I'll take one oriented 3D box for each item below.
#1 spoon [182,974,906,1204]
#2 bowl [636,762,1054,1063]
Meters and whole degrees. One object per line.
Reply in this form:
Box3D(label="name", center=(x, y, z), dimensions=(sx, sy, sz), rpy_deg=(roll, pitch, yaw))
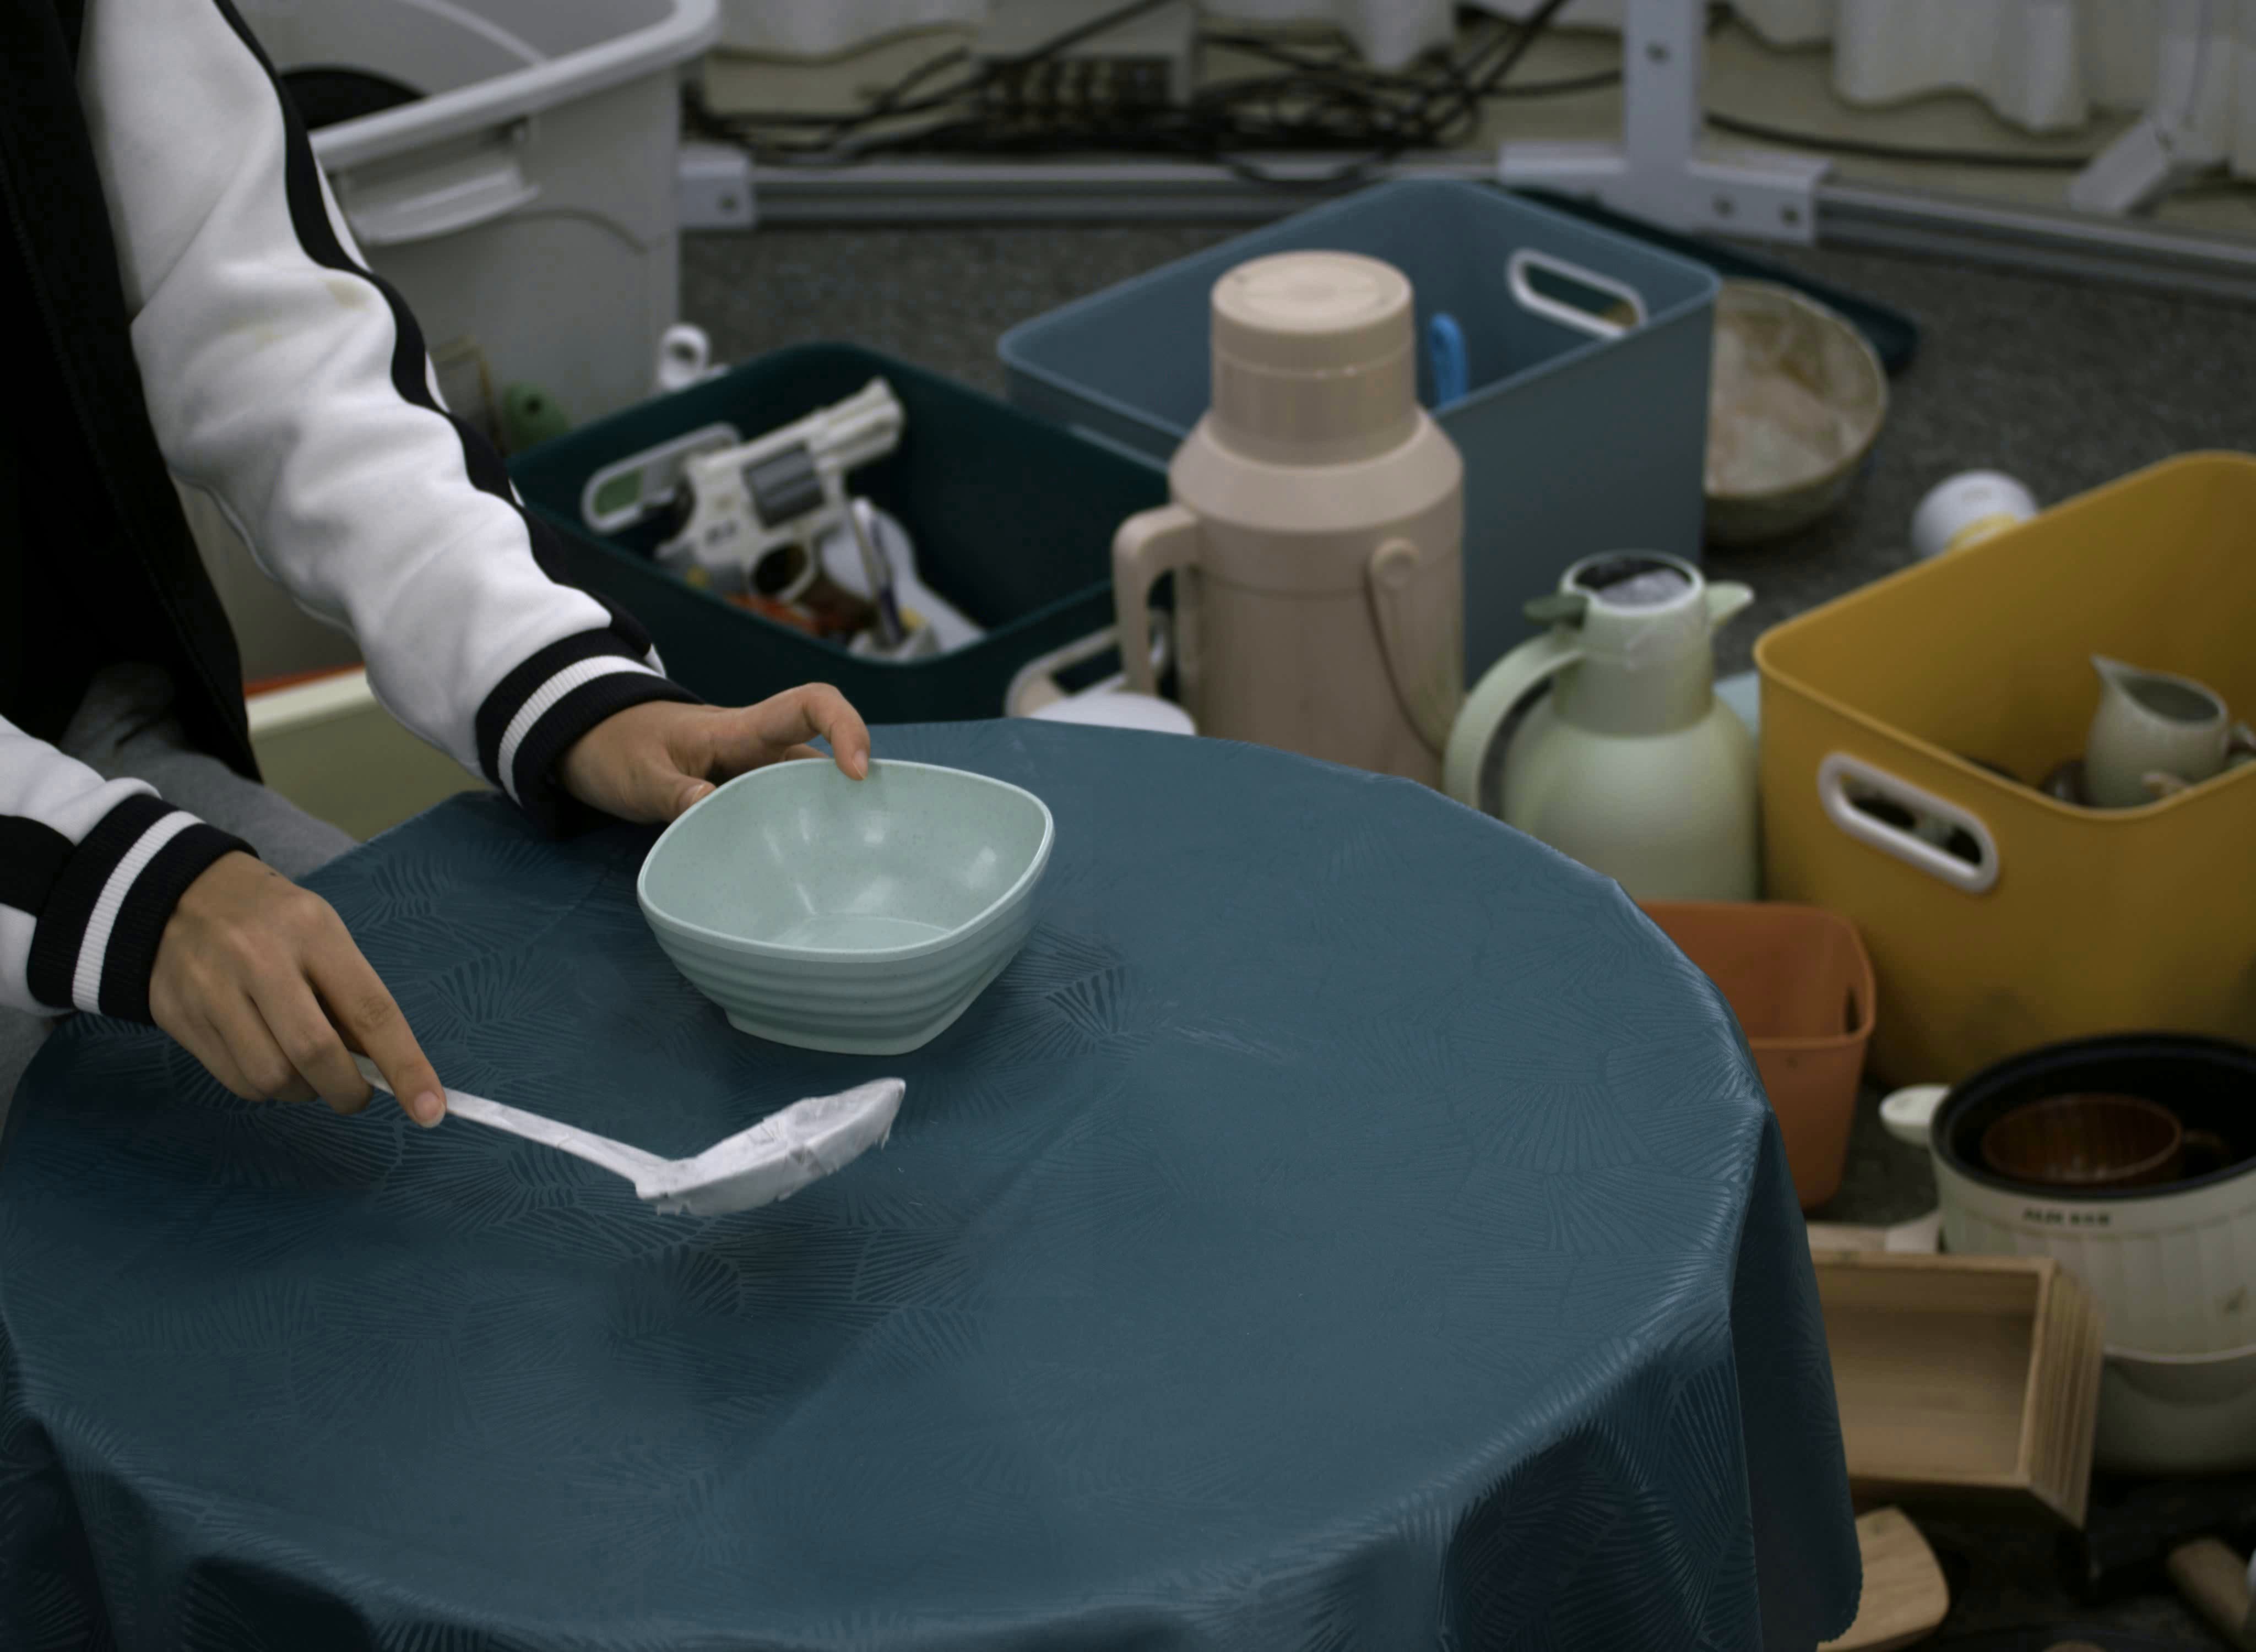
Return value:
Box3D(label="spoon", center=(-0.198, 0.069, 1.854), dimensions=(0.276, 0.059, 0.101), rpy_deg=(19, 19, 26))
Box3D(label="bowl", center=(-0.097, 0.036, 1.980), dimensions=(0.151, 0.058, 0.154), rpy_deg=(-2, 28, 1))
